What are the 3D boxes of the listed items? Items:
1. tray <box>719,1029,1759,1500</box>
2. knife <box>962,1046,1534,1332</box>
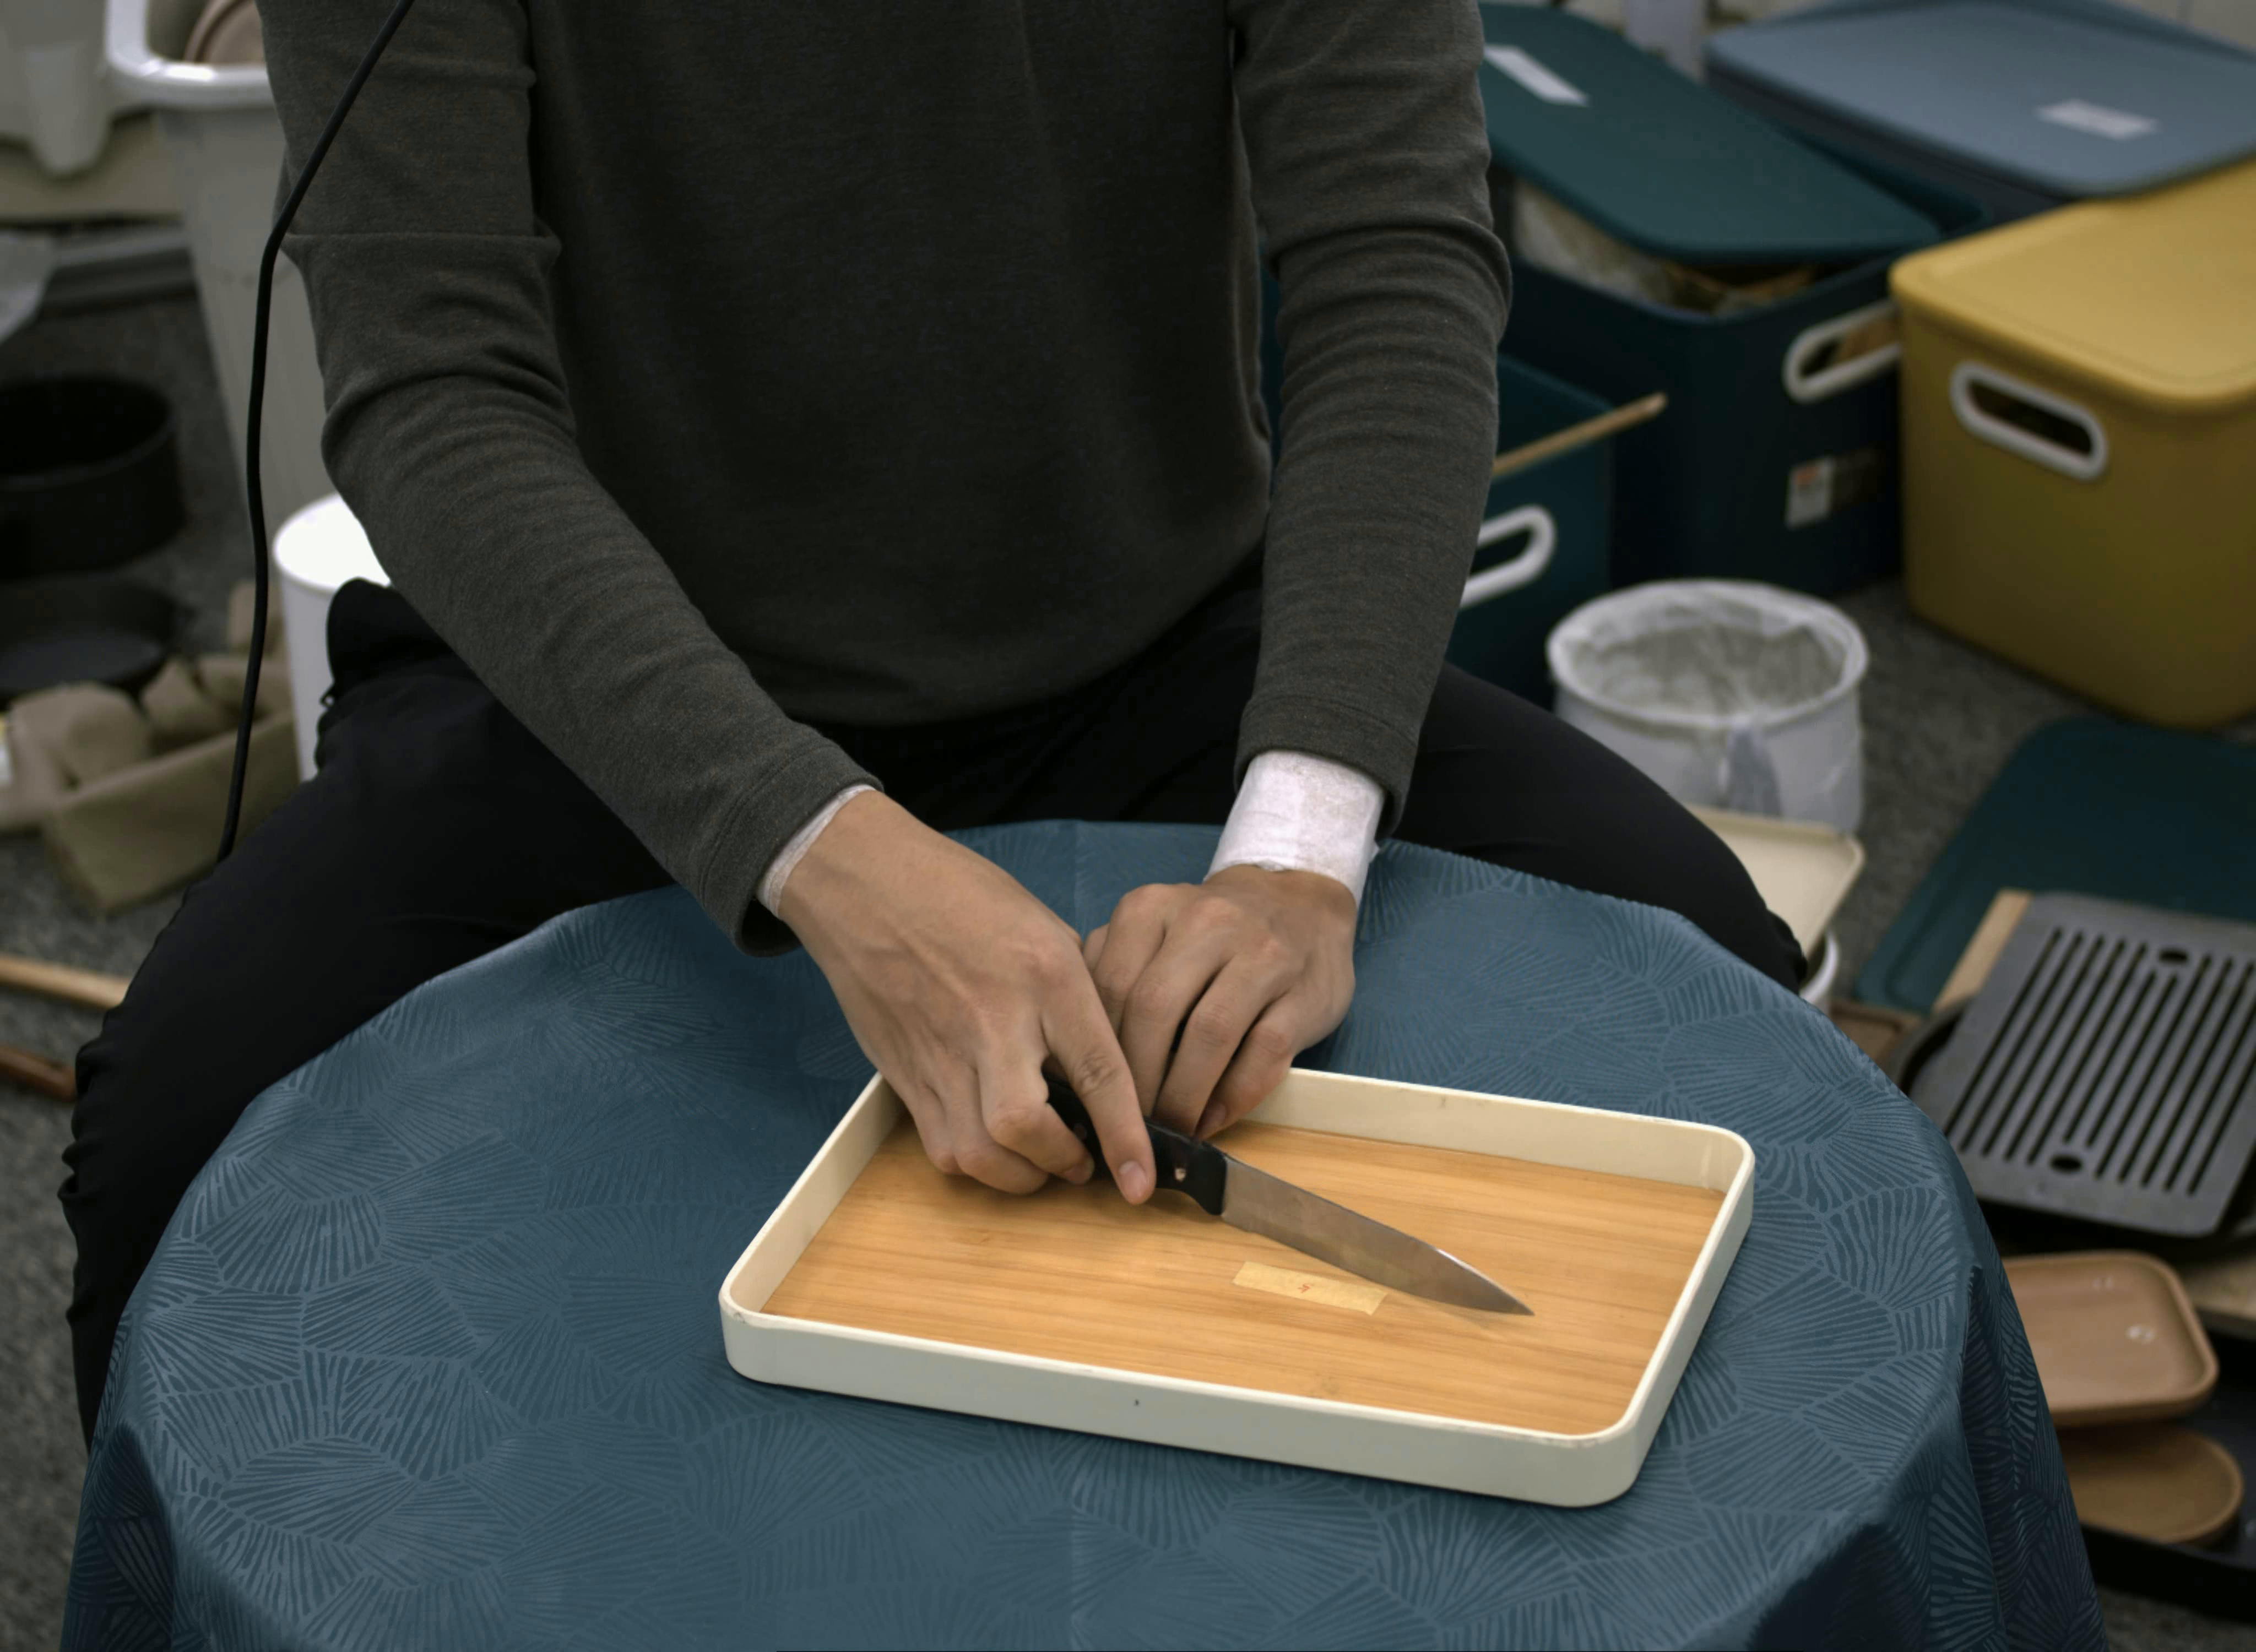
[{"bbox_3d":[0.038,0.137,1.800,0.298,0.027,0.195,7,28,18],"label":"tray"},{"bbox_3d":[0.037,0.117,1.820,0.238,0.024,0.016,23,20,35],"label":"knife"}]
